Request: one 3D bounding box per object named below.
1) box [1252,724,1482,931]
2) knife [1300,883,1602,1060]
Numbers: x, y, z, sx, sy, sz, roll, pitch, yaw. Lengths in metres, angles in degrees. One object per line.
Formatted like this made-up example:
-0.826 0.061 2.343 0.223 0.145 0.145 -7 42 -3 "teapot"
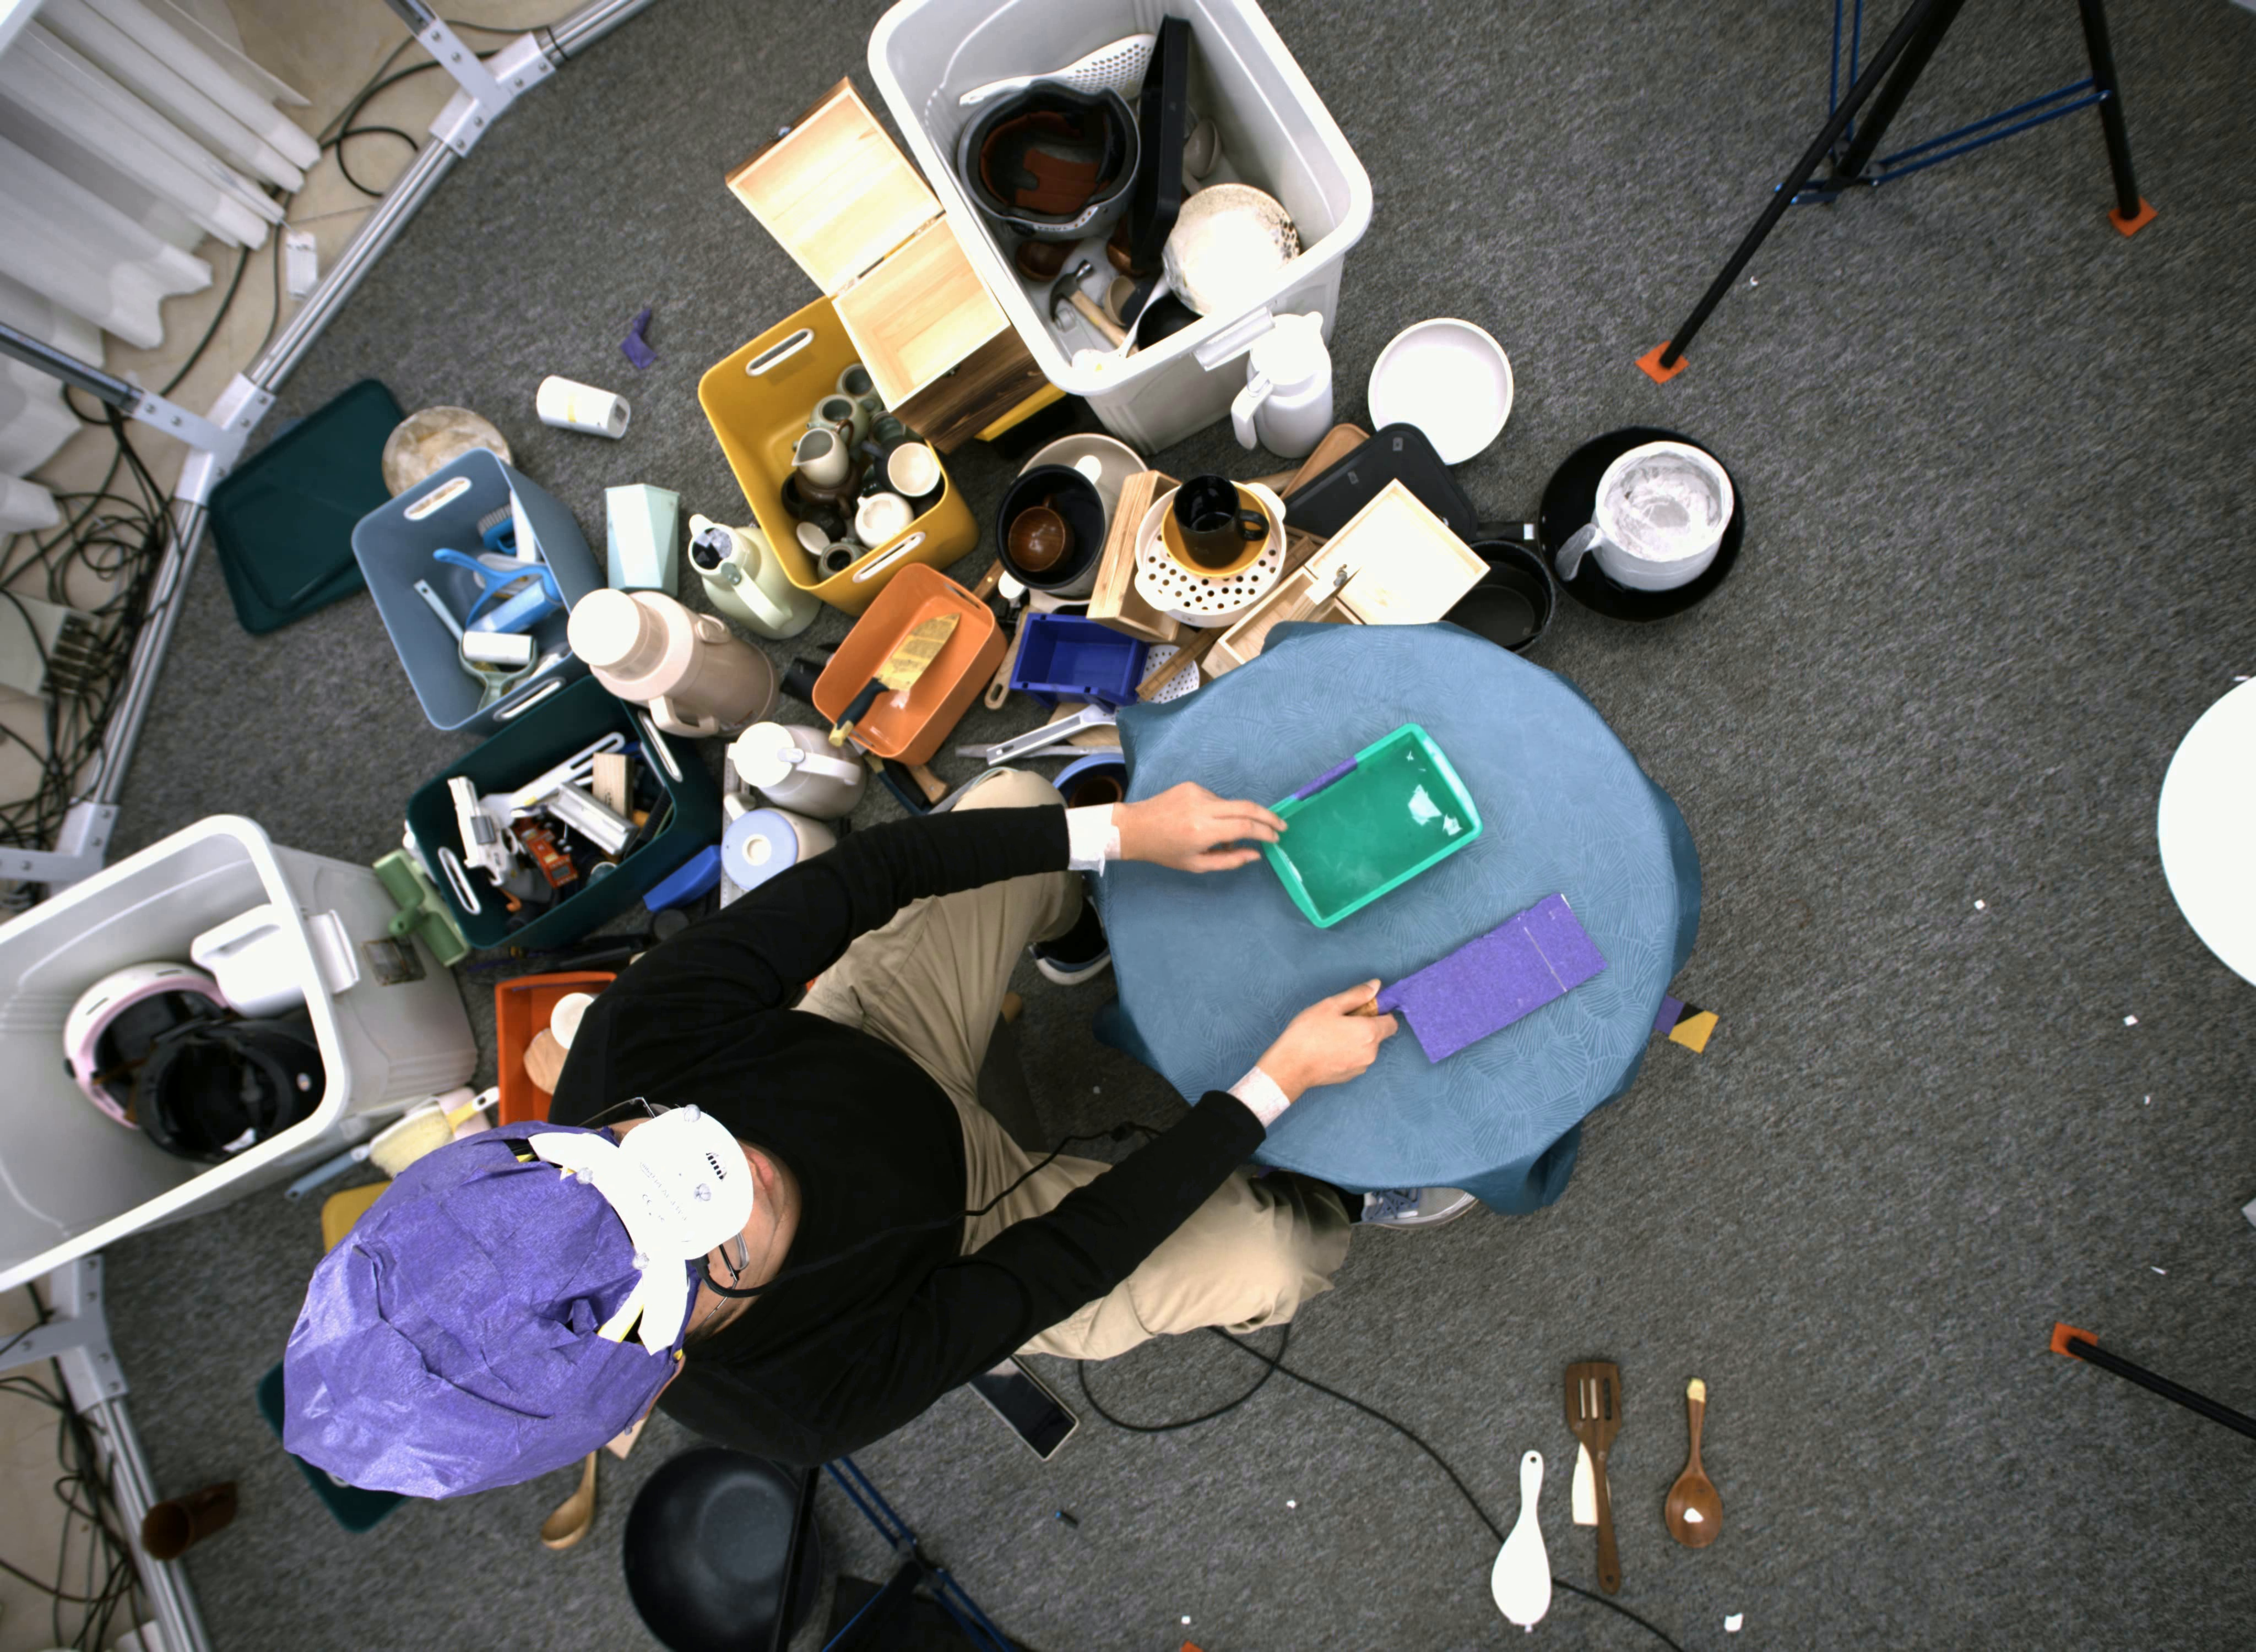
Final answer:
0.248 0.003 1.437 0.212 0.065 0.138 -33 80 9 "box"
0.334 0.175 1.414 0.316 0.032 0.103 -30 78 4 "knife"
